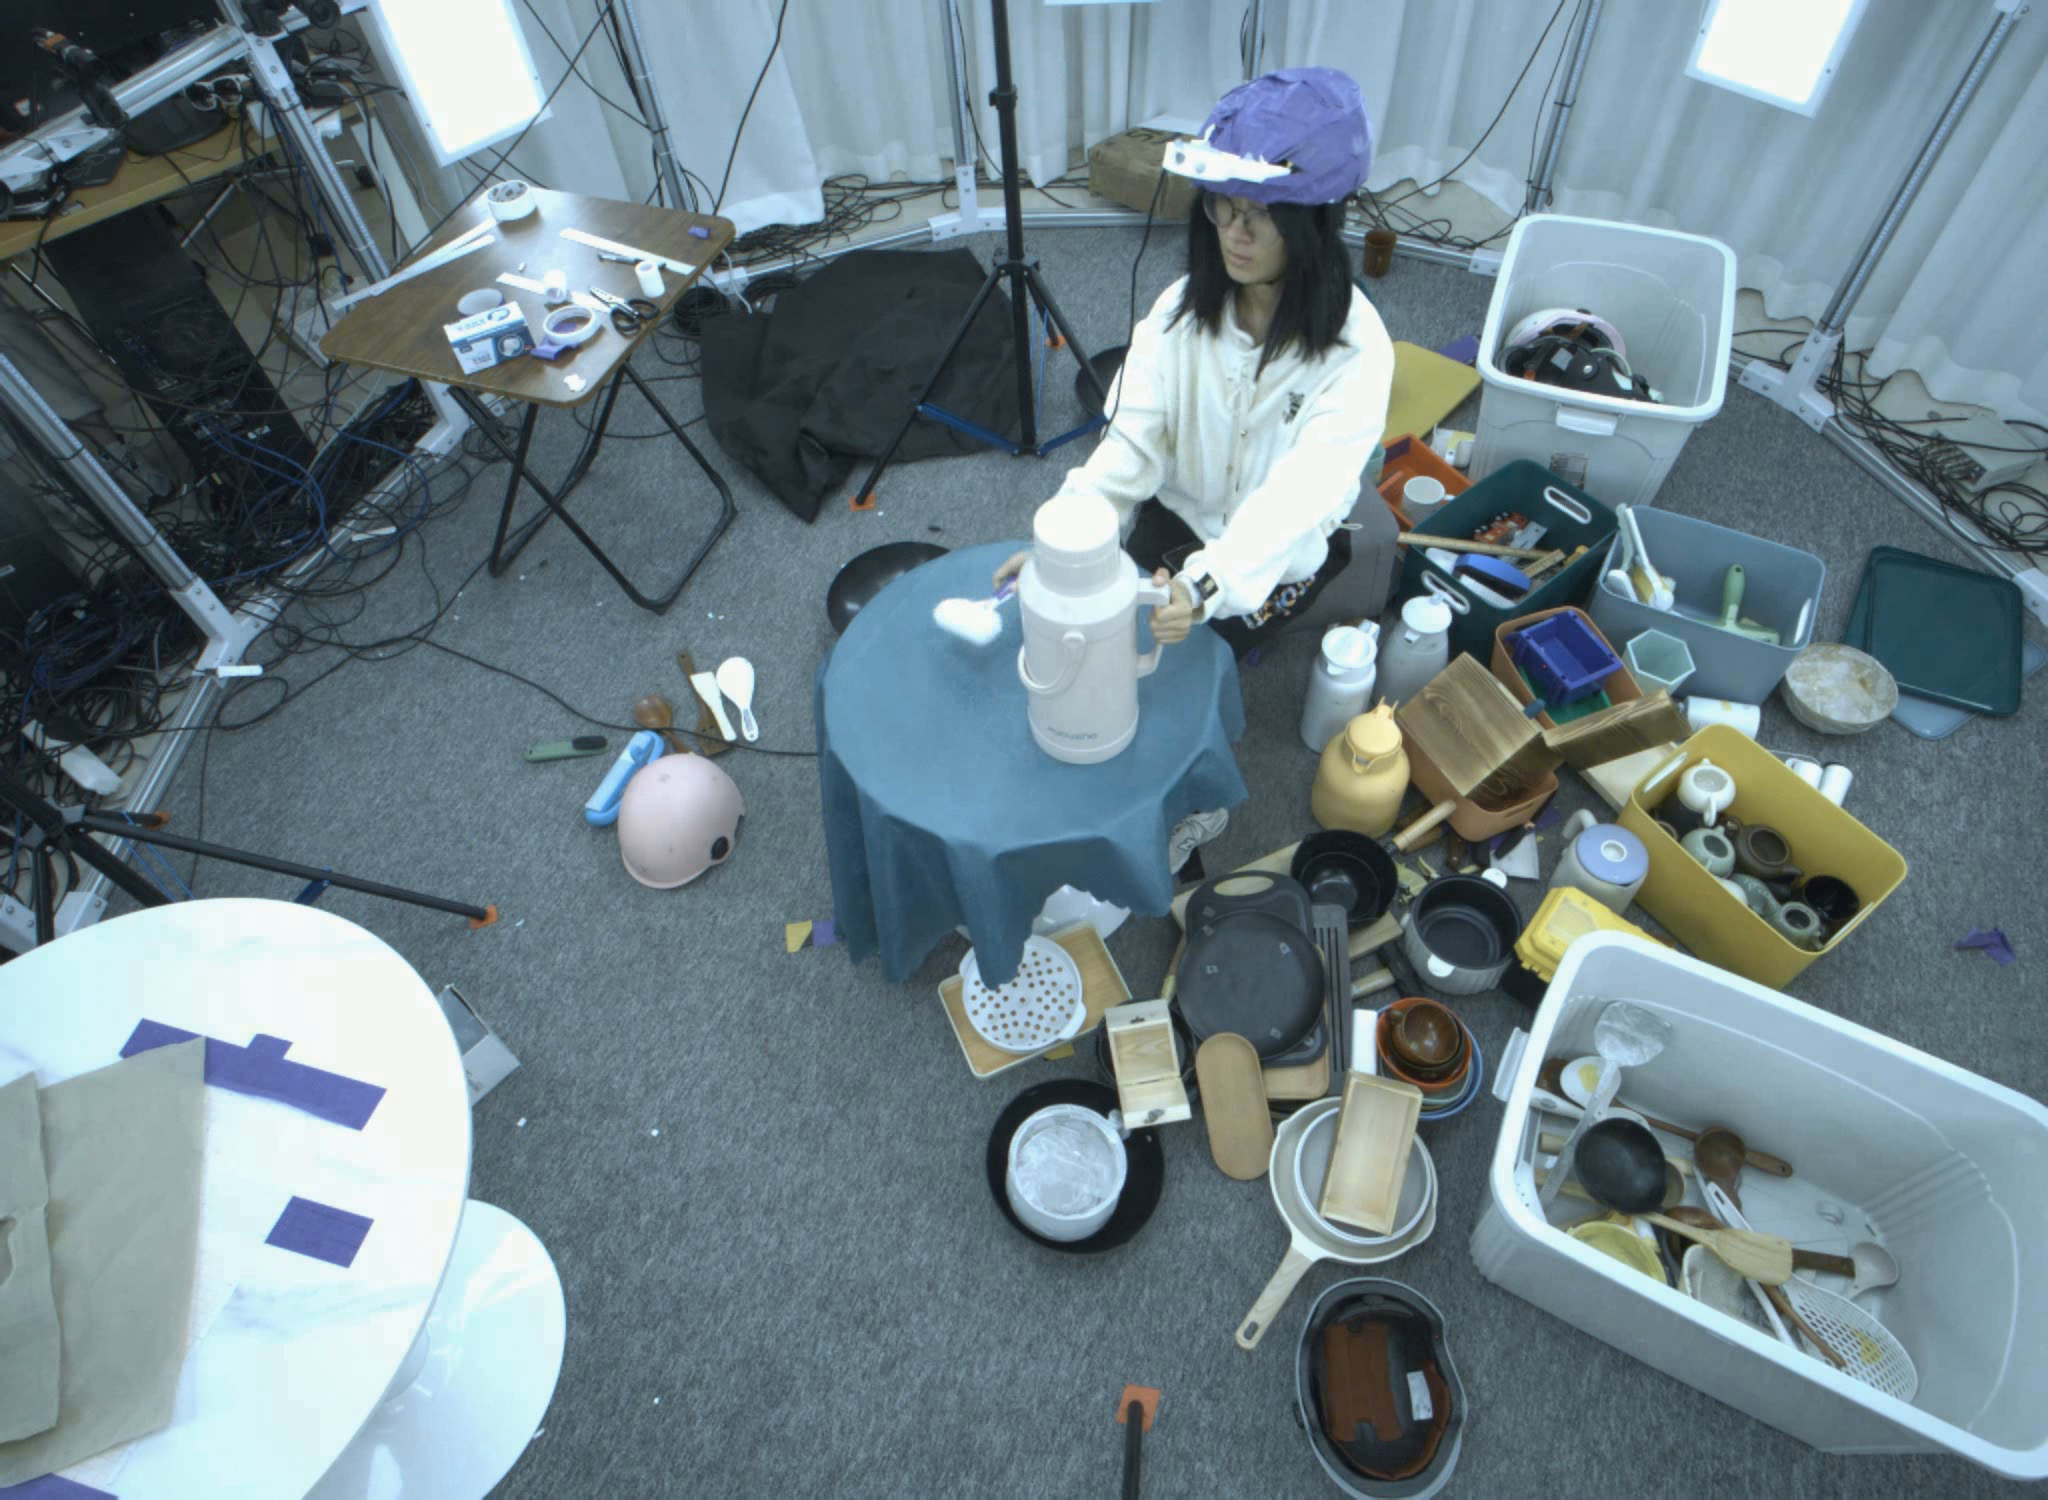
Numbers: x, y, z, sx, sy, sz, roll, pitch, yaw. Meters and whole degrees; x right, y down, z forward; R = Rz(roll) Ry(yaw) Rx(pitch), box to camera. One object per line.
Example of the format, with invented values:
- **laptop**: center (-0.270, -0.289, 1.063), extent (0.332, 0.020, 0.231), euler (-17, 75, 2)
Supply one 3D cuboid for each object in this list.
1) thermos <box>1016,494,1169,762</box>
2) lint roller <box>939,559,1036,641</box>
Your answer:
- **thermos**: center (0.088, -0.158, 1.652), extent (0.206, 0.411, 0.174), euler (2, 54, 5)
- **lint roller**: center (-0.038, -0.240, 1.840), extent (0.181, 0.051, 0.130), euler (-46, 37, -13)
